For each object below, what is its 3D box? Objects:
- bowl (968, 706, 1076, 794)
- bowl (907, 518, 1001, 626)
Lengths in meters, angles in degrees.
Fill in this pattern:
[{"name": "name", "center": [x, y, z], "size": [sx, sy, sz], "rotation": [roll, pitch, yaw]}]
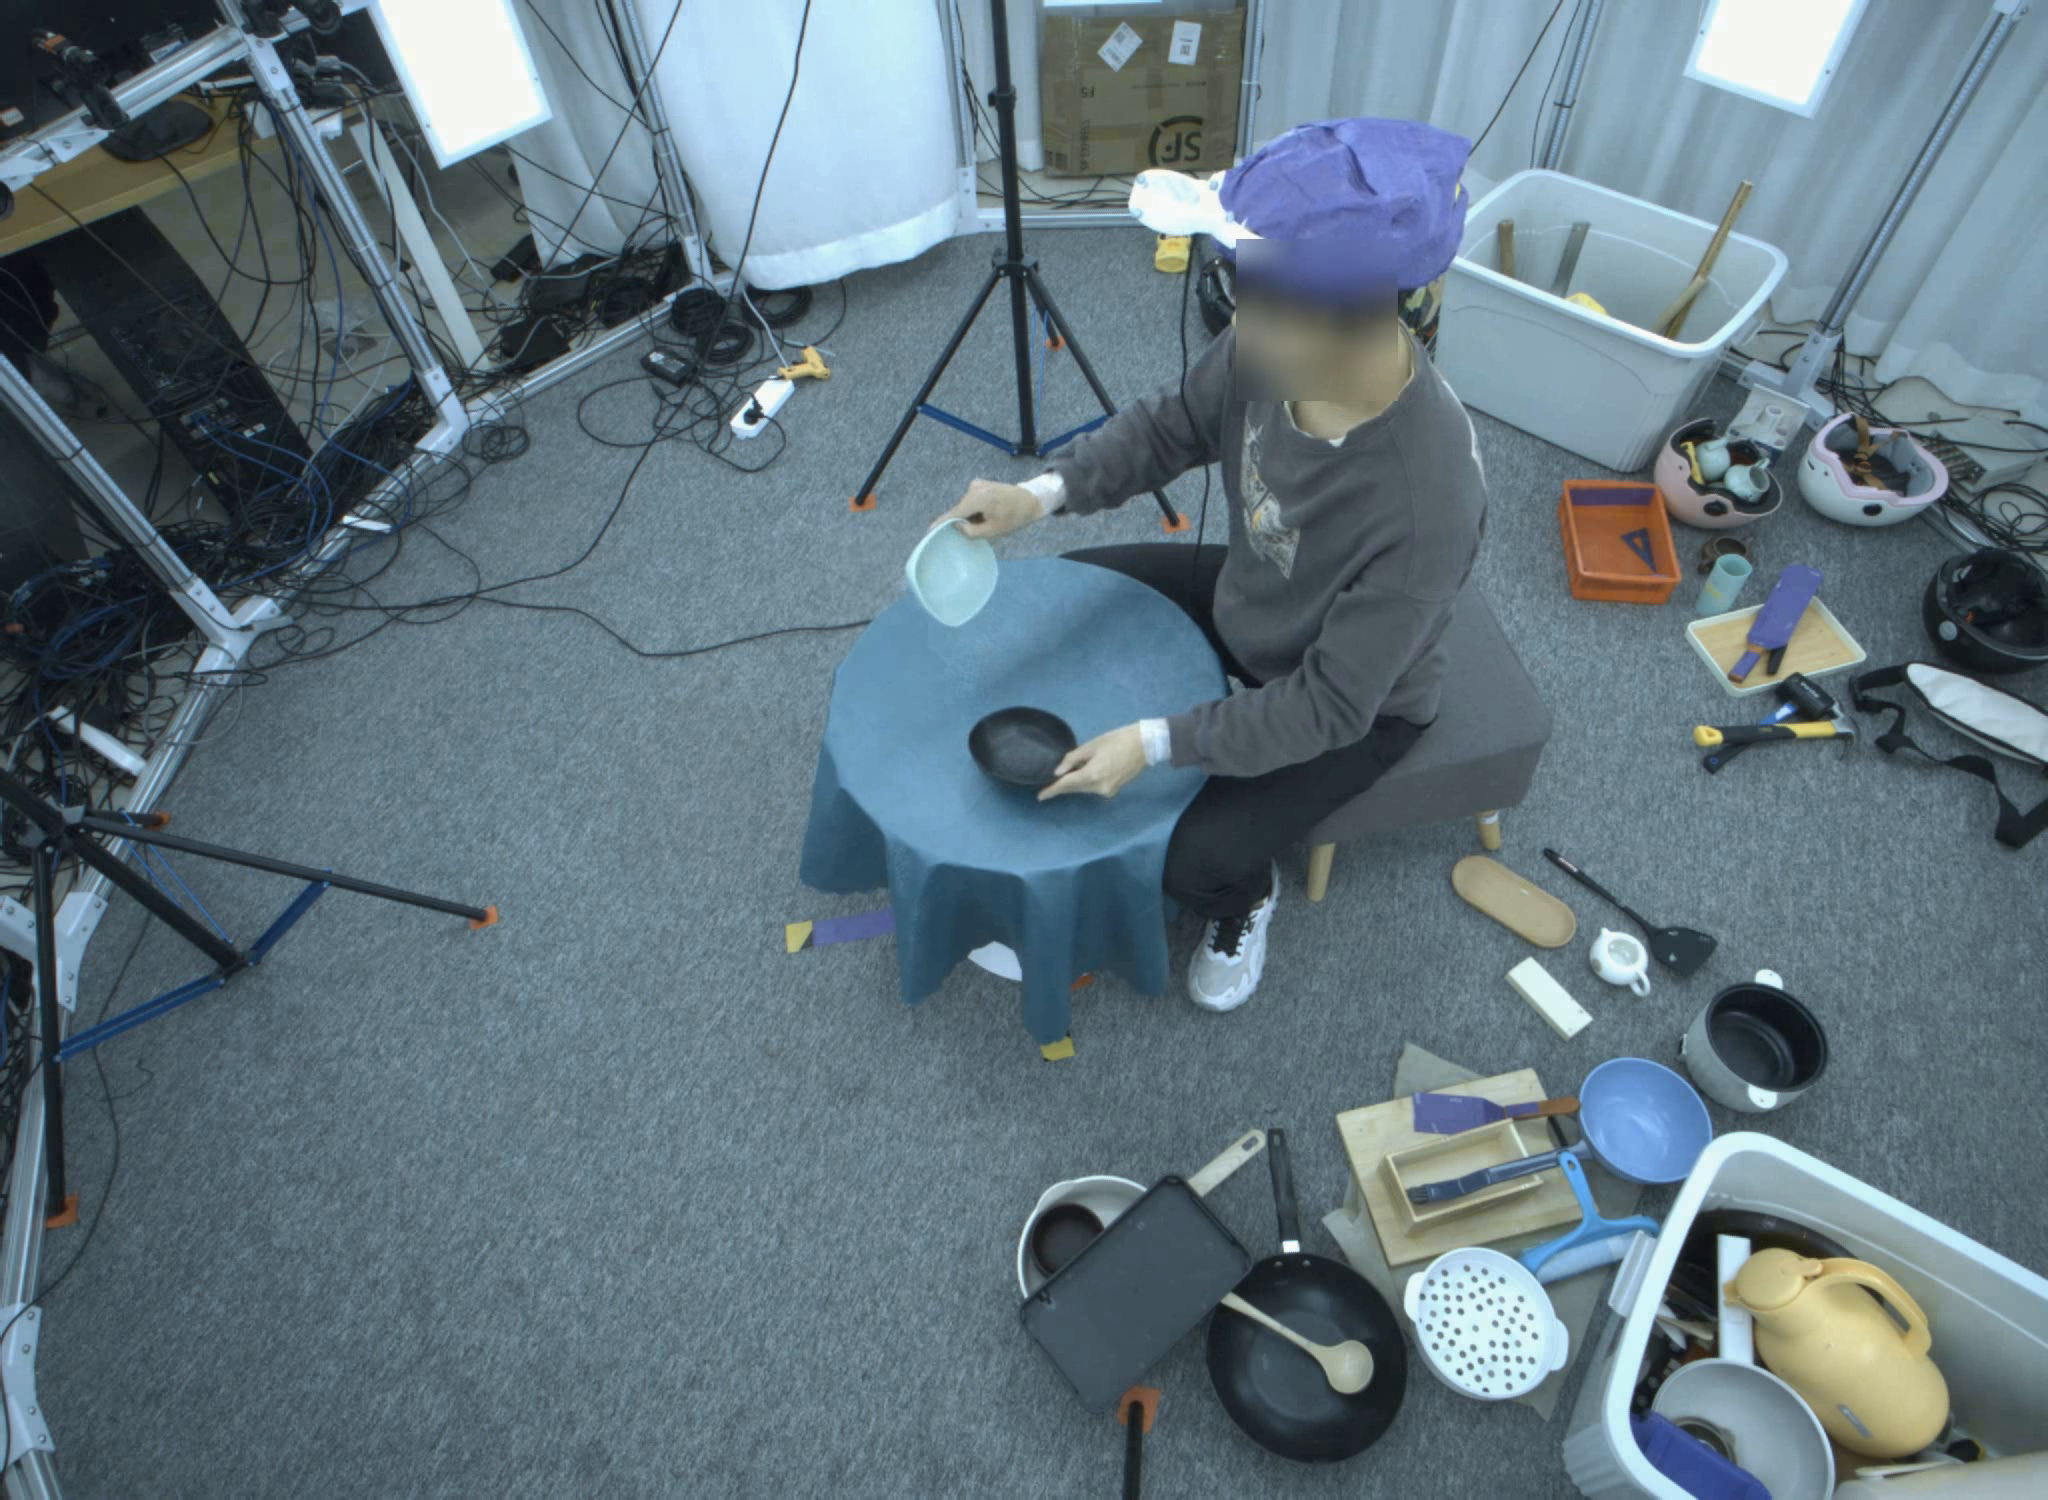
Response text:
[{"name": "bowl", "center": [-0.003, 0.010, 1.735], "size": [0.167, 0.067, 0.138], "rotation": [31, 59, 28]}, {"name": "bowl", "center": [-0.111, -0.254, 1.738], "size": [0.152, 0.154, 0.057], "rotation": [-43, 34, -24]}]
